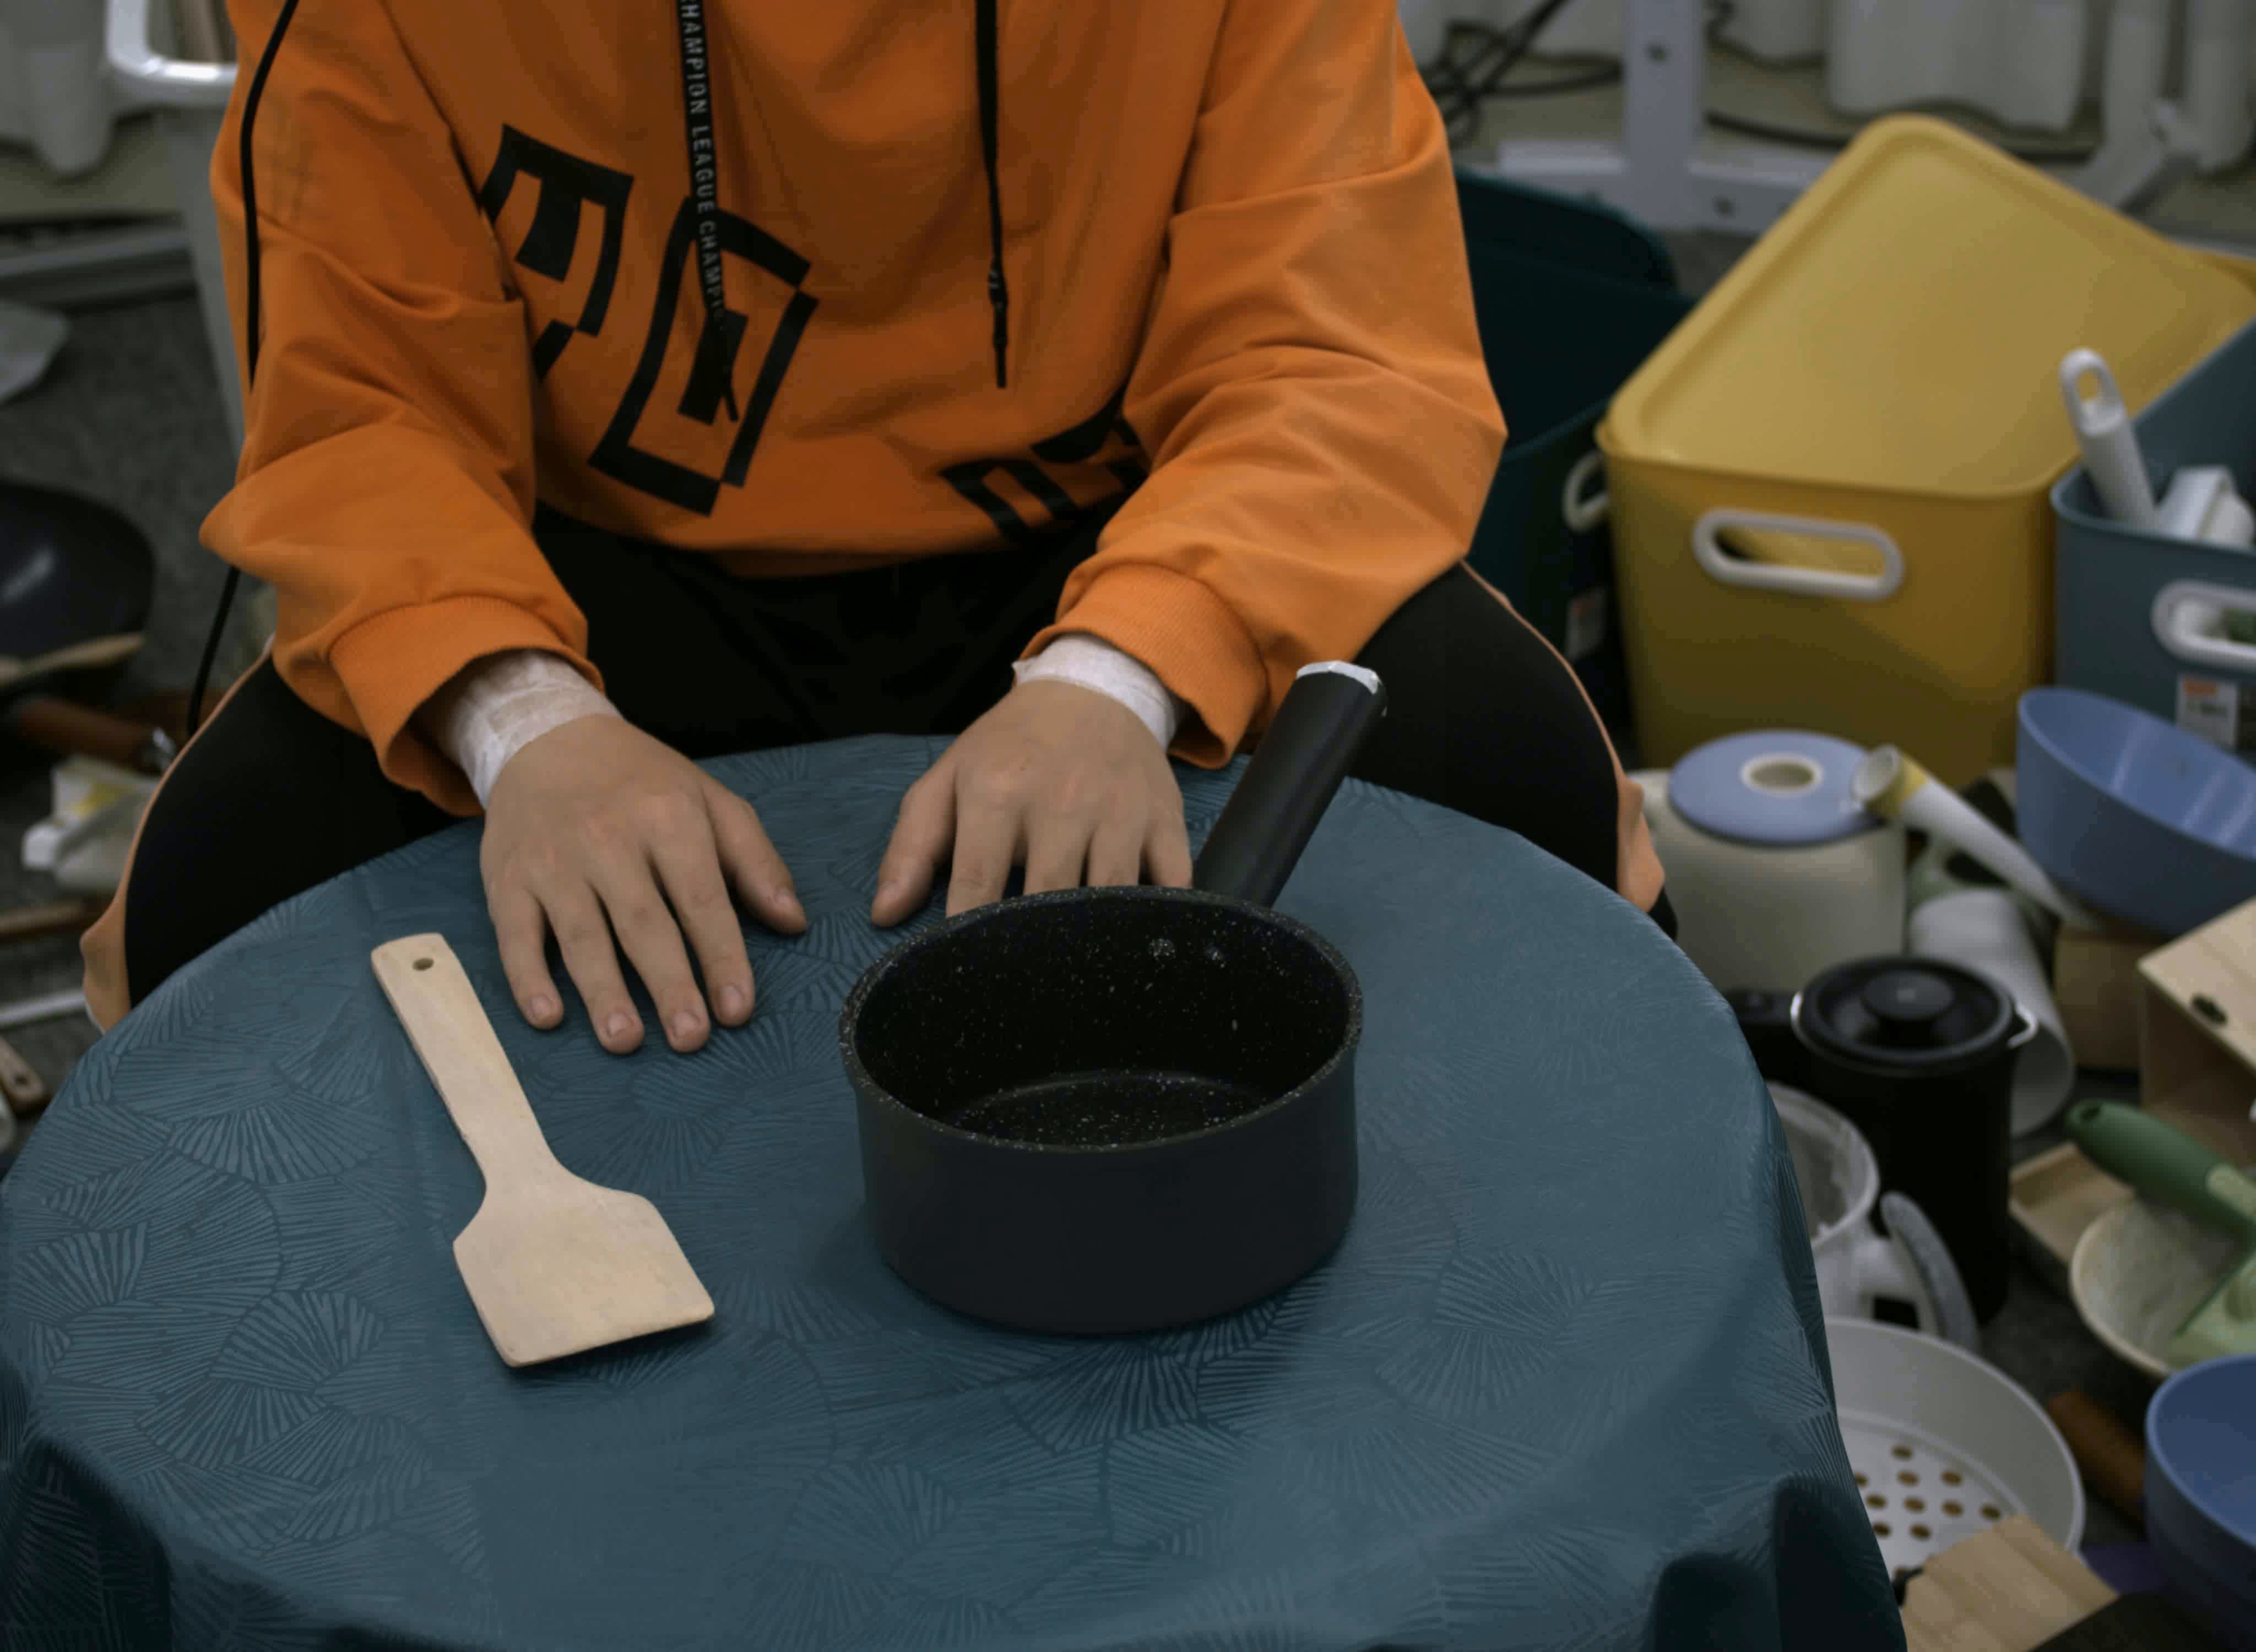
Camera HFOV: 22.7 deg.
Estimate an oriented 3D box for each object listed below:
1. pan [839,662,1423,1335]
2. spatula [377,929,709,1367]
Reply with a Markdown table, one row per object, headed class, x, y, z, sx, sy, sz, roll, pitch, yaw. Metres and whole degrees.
| class | x | y | z | sx | sy | sz | roll | pitch | yaw |
| --- | --- | --- | --- | --- | --- | --- | --- | --- | --- |
| pan | 0.025 | 0.054 | 1.900 | 0.171 | 0.085 | 0.334 | 9 | 31 | 22 |
| spatula | -0.213 | 0.104 | 1.907 | 0.072 | 0.010 | 0.295 | -15 | 29 | -14 |
